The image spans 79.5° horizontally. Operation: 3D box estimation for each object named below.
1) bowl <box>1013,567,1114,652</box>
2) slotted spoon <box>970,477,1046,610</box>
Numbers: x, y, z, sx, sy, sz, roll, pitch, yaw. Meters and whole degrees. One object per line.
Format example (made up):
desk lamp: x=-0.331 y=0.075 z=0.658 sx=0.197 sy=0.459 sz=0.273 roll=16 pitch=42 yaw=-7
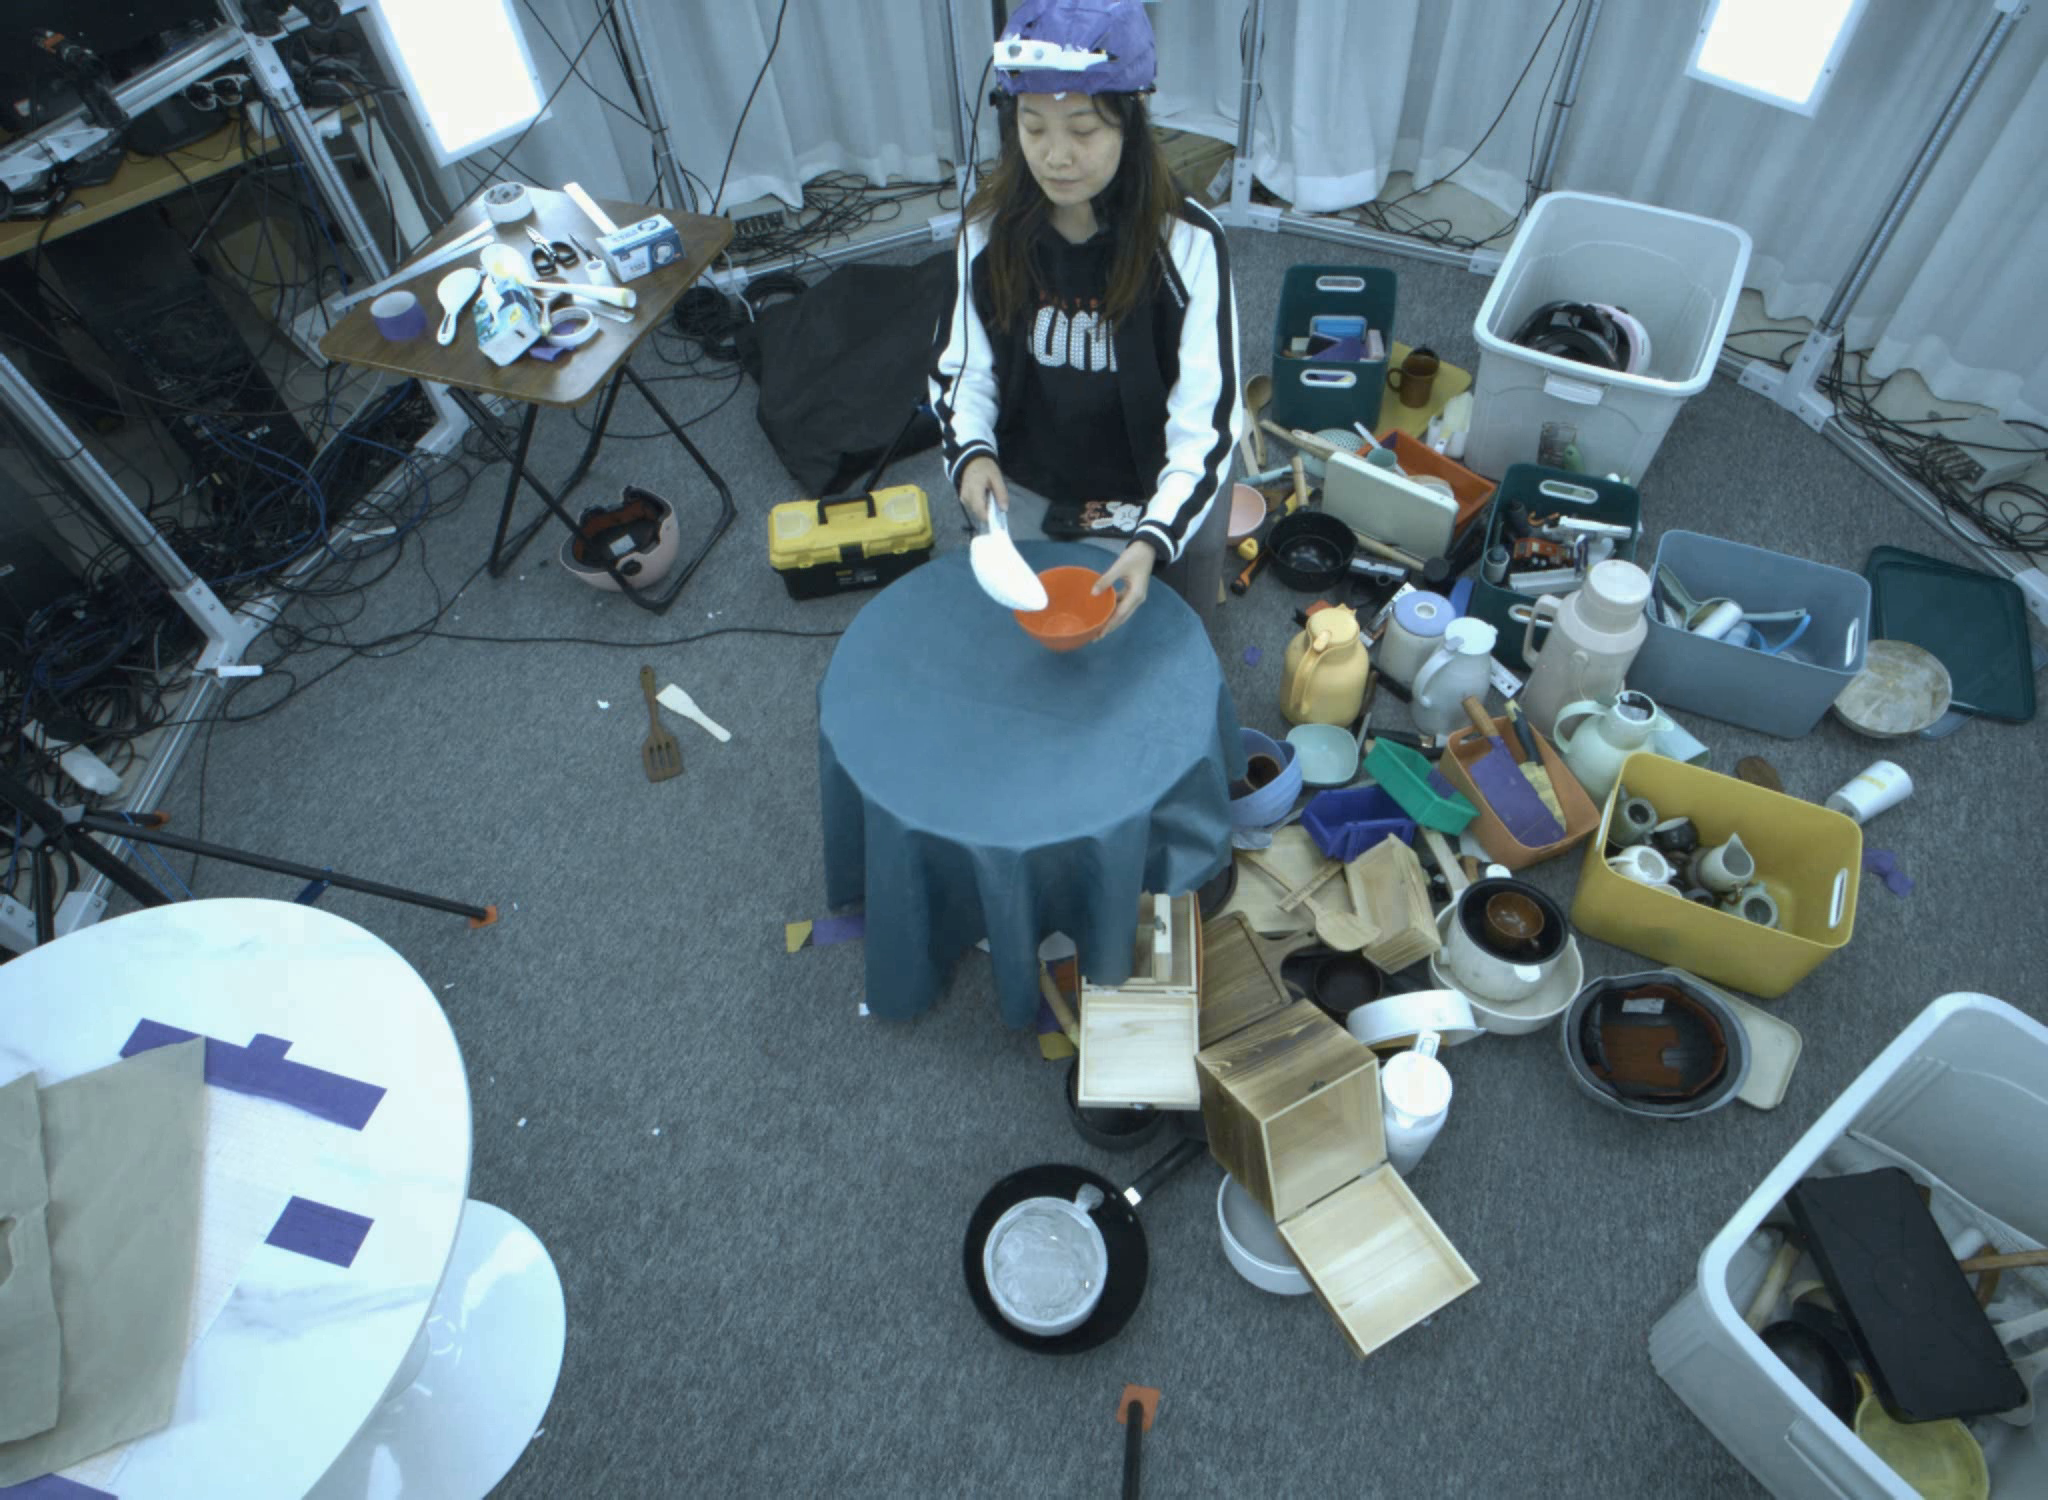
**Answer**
bowl: x=0.060 y=-0.192 z=1.805 sx=0.148 sy=0.106 sz=0.146 roll=-2 pitch=59 yaw=4
slotted spoon: x=-0.036 y=-0.310 z=1.781 sx=0.139 sy=0.045 sz=0.345 roll=32 pitch=35 yaw=-29
